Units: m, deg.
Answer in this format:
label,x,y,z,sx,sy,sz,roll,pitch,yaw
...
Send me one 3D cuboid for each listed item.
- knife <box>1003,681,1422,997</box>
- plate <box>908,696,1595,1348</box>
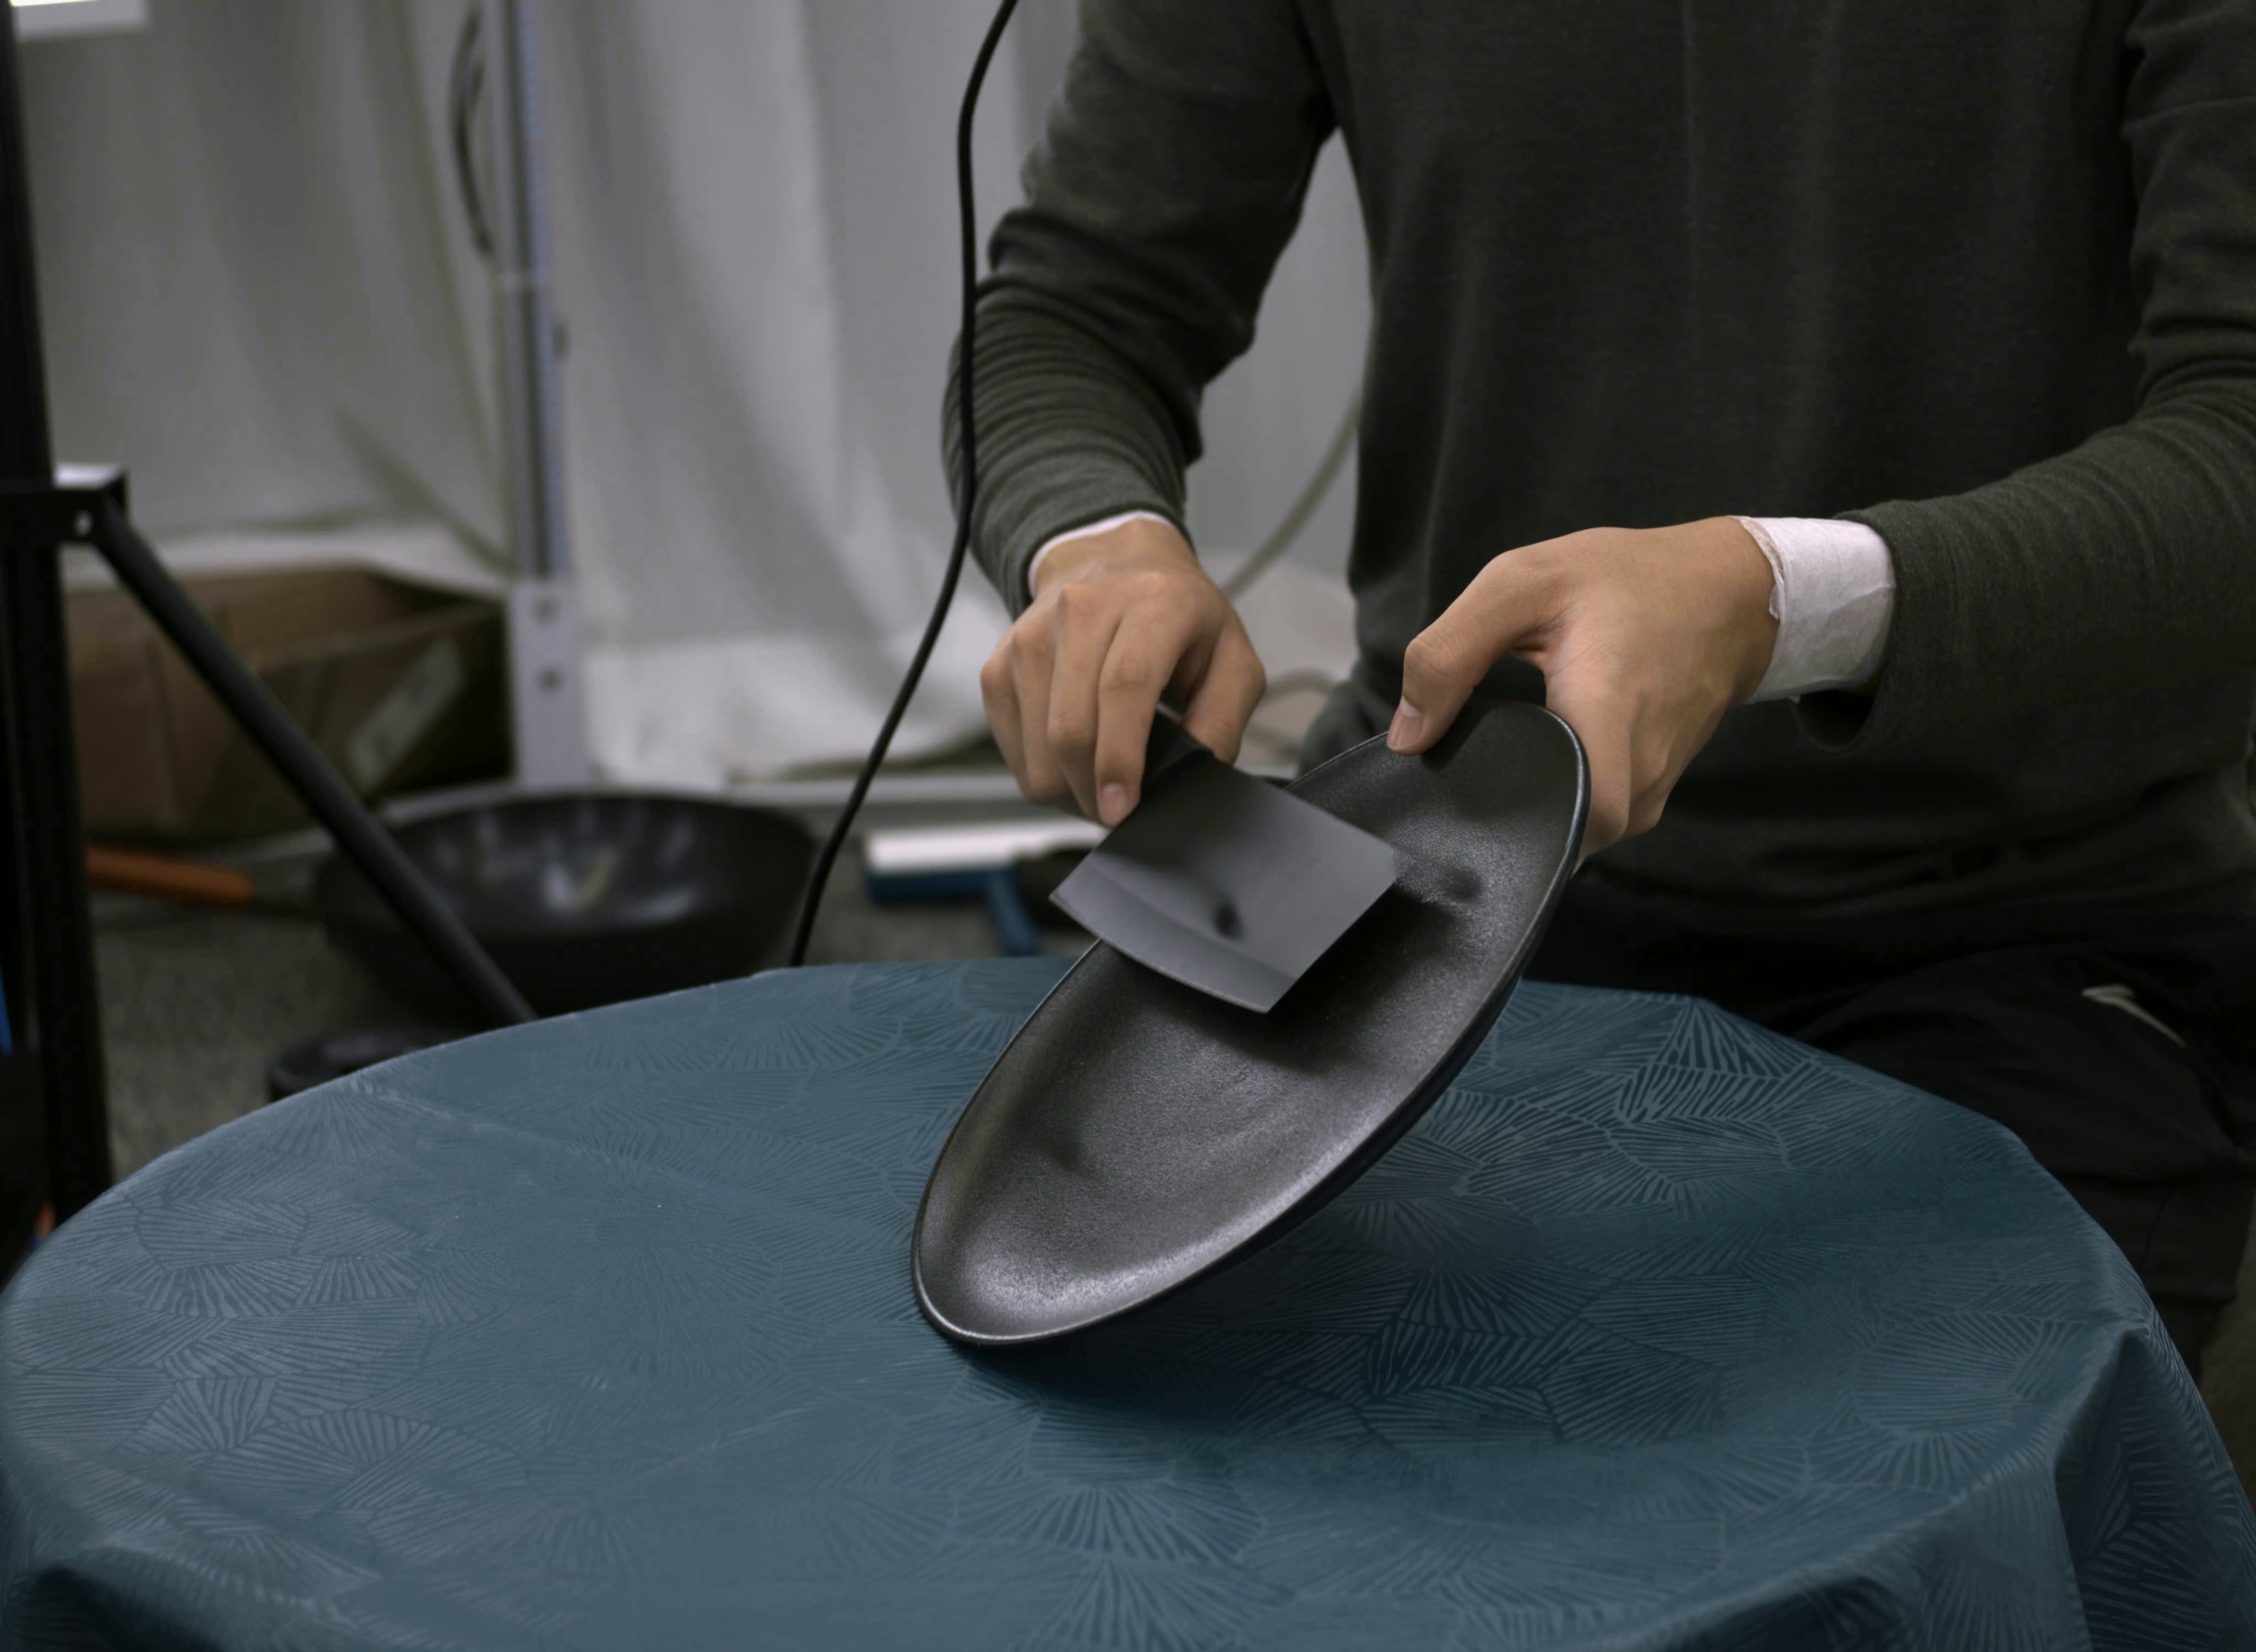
label,x,y,z,sx,sy,sz,roll,pitch,yaw
knife,0.013,0.000,1.608,0.081,0.020,0.307,-43,21,-3
plate,0.038,0.059,1.474,0.246,0.023,0.246,-38,21,14
